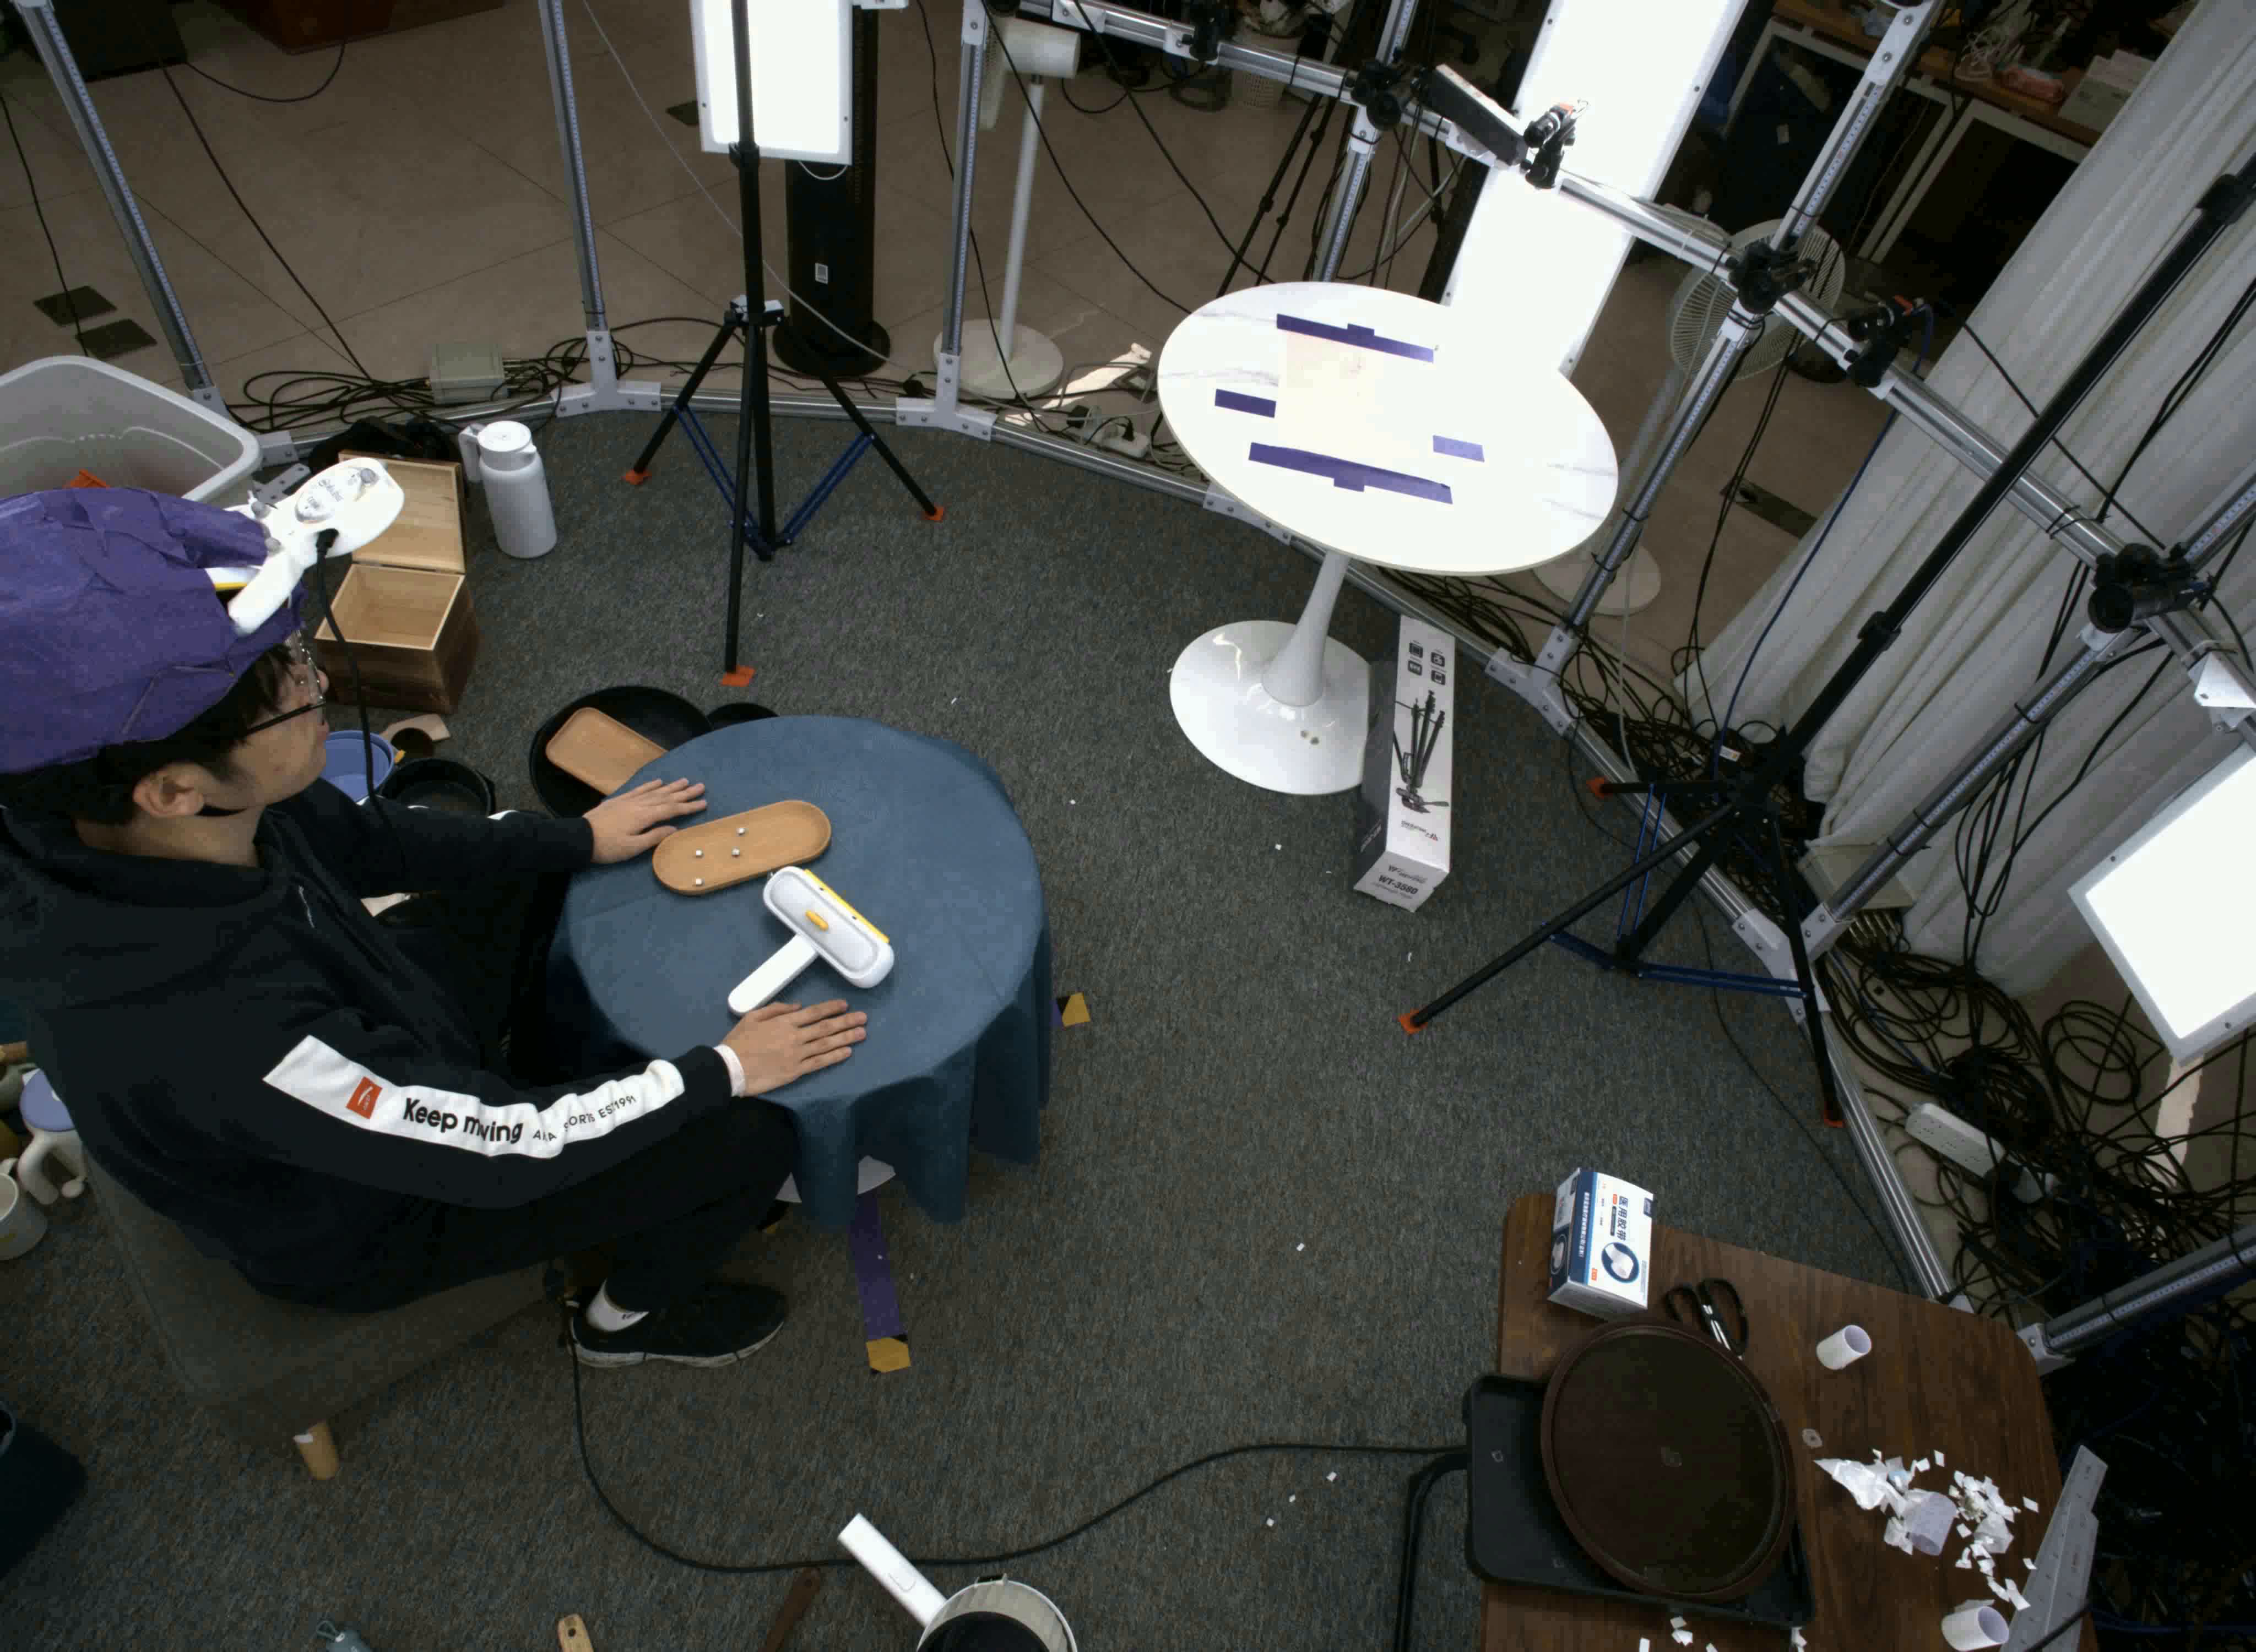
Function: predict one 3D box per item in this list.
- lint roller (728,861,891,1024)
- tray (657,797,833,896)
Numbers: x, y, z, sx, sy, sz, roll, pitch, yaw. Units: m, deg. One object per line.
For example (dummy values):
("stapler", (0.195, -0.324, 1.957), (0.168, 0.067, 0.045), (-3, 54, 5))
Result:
("lint roller", (-0.412, 0.159, 1.585), (0.191, 0.075, 0.192), (36, 73, 5))
("tray", (-0.496, 0.025, 1.682), (0.232, 0.020, 0.099), (-19, 62, -27))
